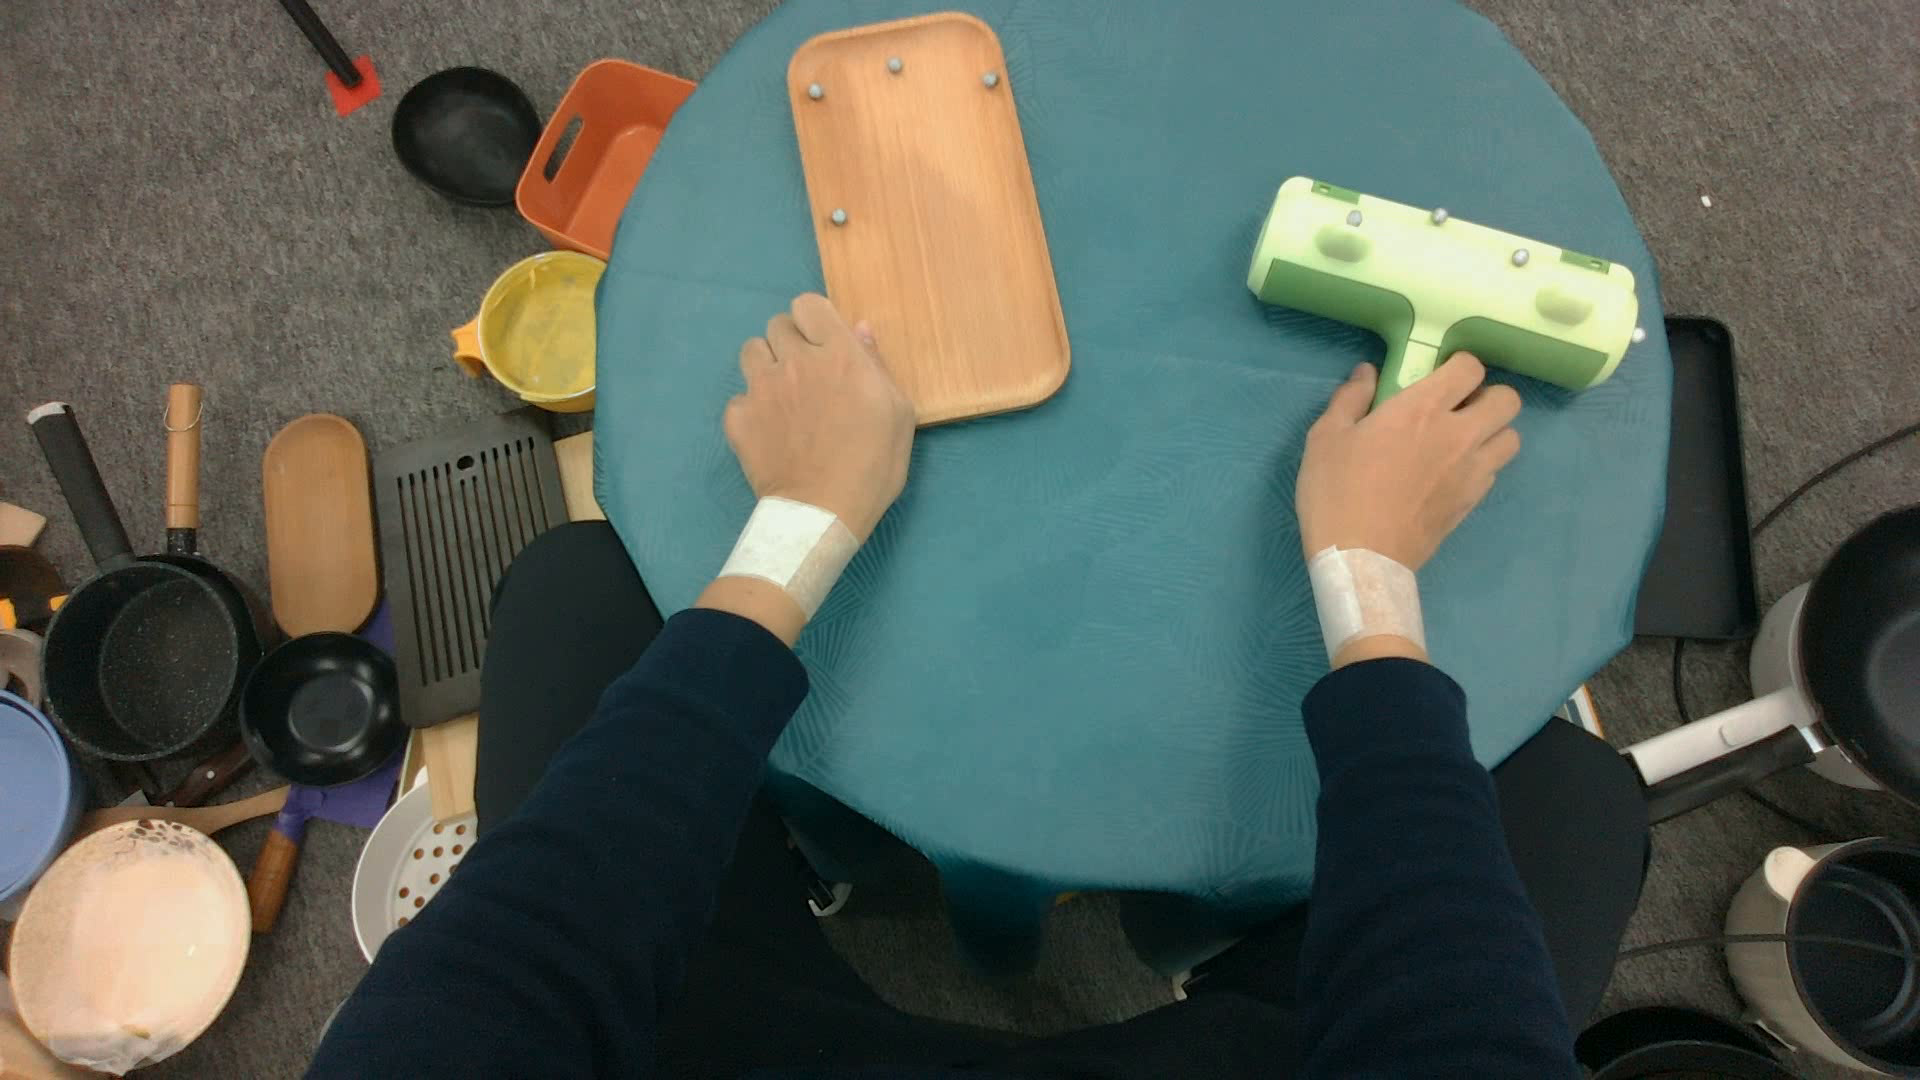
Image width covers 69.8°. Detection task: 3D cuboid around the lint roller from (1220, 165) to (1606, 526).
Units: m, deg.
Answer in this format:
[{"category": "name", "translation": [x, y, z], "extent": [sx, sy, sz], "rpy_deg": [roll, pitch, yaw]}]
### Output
[{"category": "lint roller", "translation": [0.228, -0.101, 0.720], "extent": [0.198, 0.082, 0.184], "rpy_deg": [15, 69, 5]}]

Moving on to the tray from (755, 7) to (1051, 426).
[{"category": "tray", "translation": [-0.034, -0.187, 0.782], "extent": [0.130, 0.023, 0.251], "rpy_deg": [-12, 76, -1]}]
